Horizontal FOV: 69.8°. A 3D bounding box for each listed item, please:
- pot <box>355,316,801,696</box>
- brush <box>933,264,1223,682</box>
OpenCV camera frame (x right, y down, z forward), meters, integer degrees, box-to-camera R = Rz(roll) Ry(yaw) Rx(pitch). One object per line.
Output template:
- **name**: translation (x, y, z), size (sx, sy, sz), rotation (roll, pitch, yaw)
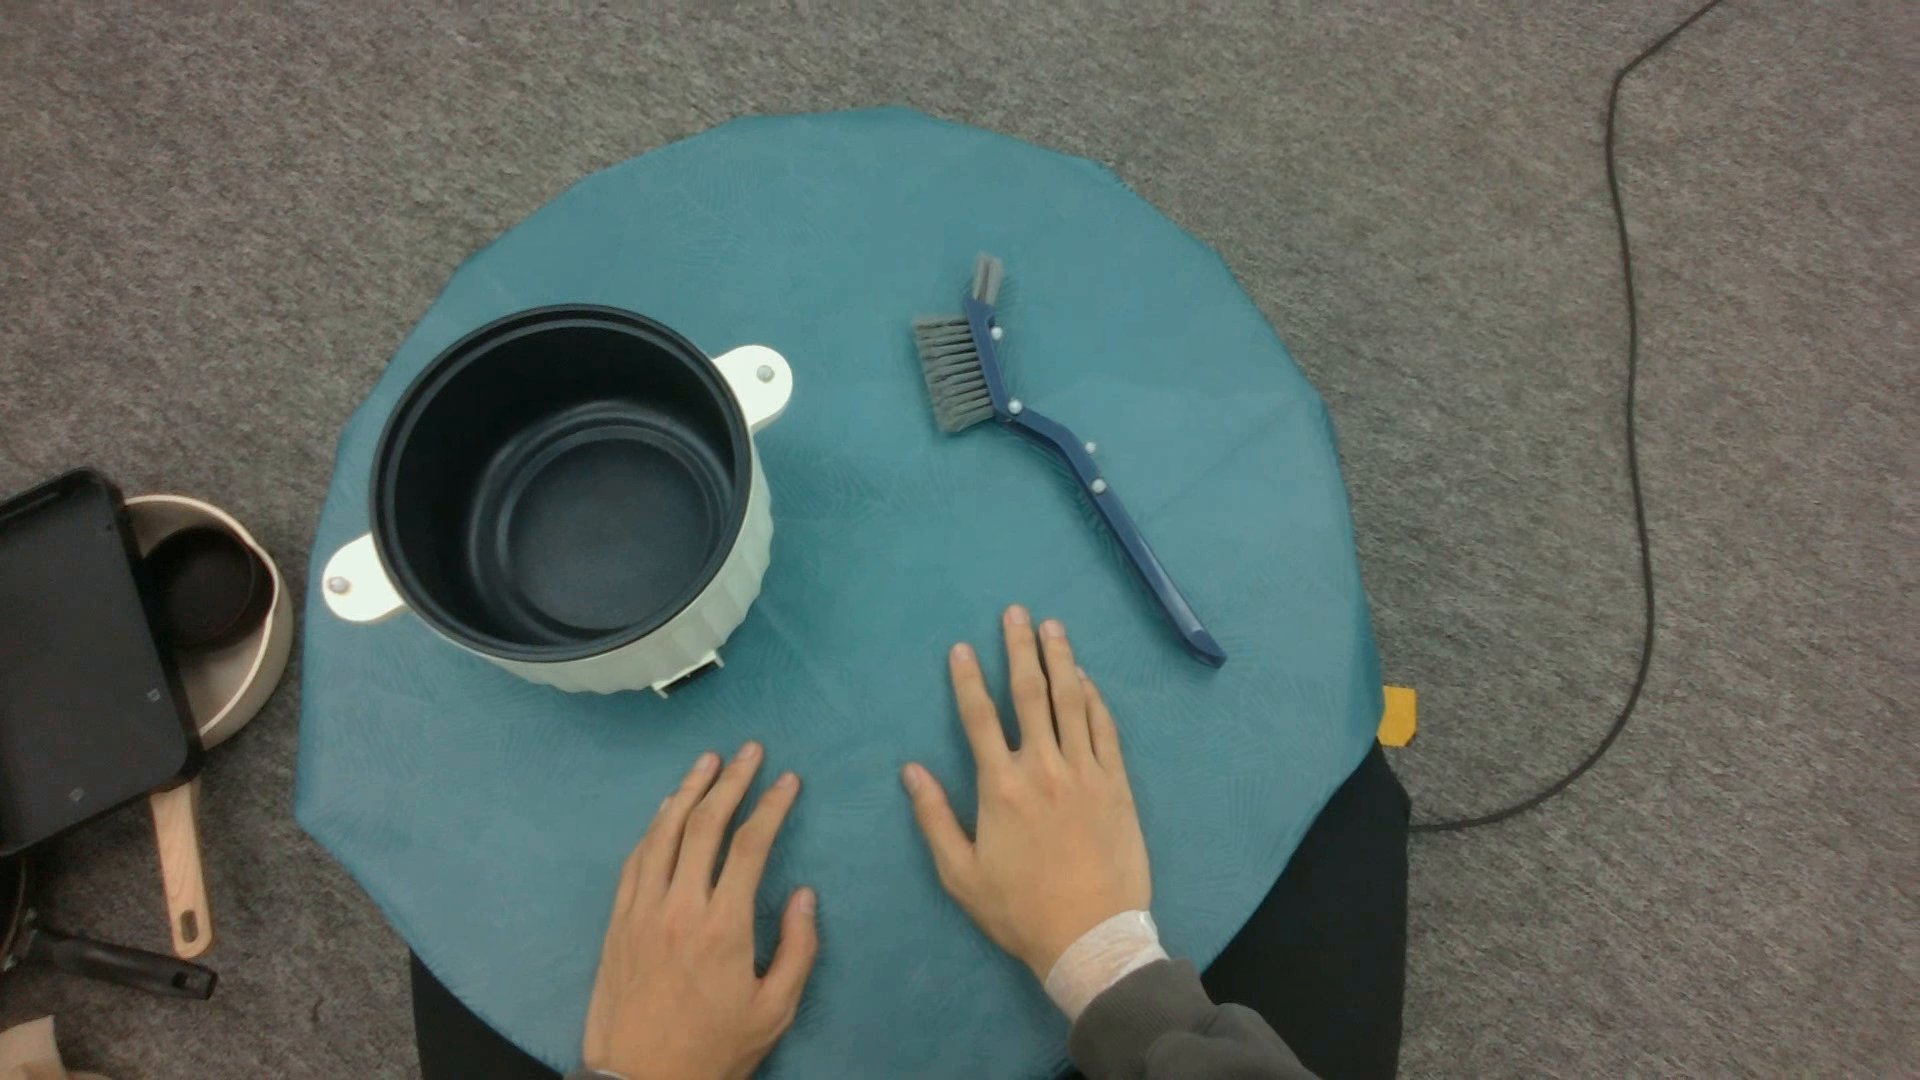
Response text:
- **pot**: translation (-0.190, -0.013, 0.739), size (0.241, 0.142, 0.190), rotation (-29, 79, -9)
- **brush**: translation (0.080, -0.042, 0.801), size (0.096, 0.033, 0.273), rotation (-38, 75, -11)
